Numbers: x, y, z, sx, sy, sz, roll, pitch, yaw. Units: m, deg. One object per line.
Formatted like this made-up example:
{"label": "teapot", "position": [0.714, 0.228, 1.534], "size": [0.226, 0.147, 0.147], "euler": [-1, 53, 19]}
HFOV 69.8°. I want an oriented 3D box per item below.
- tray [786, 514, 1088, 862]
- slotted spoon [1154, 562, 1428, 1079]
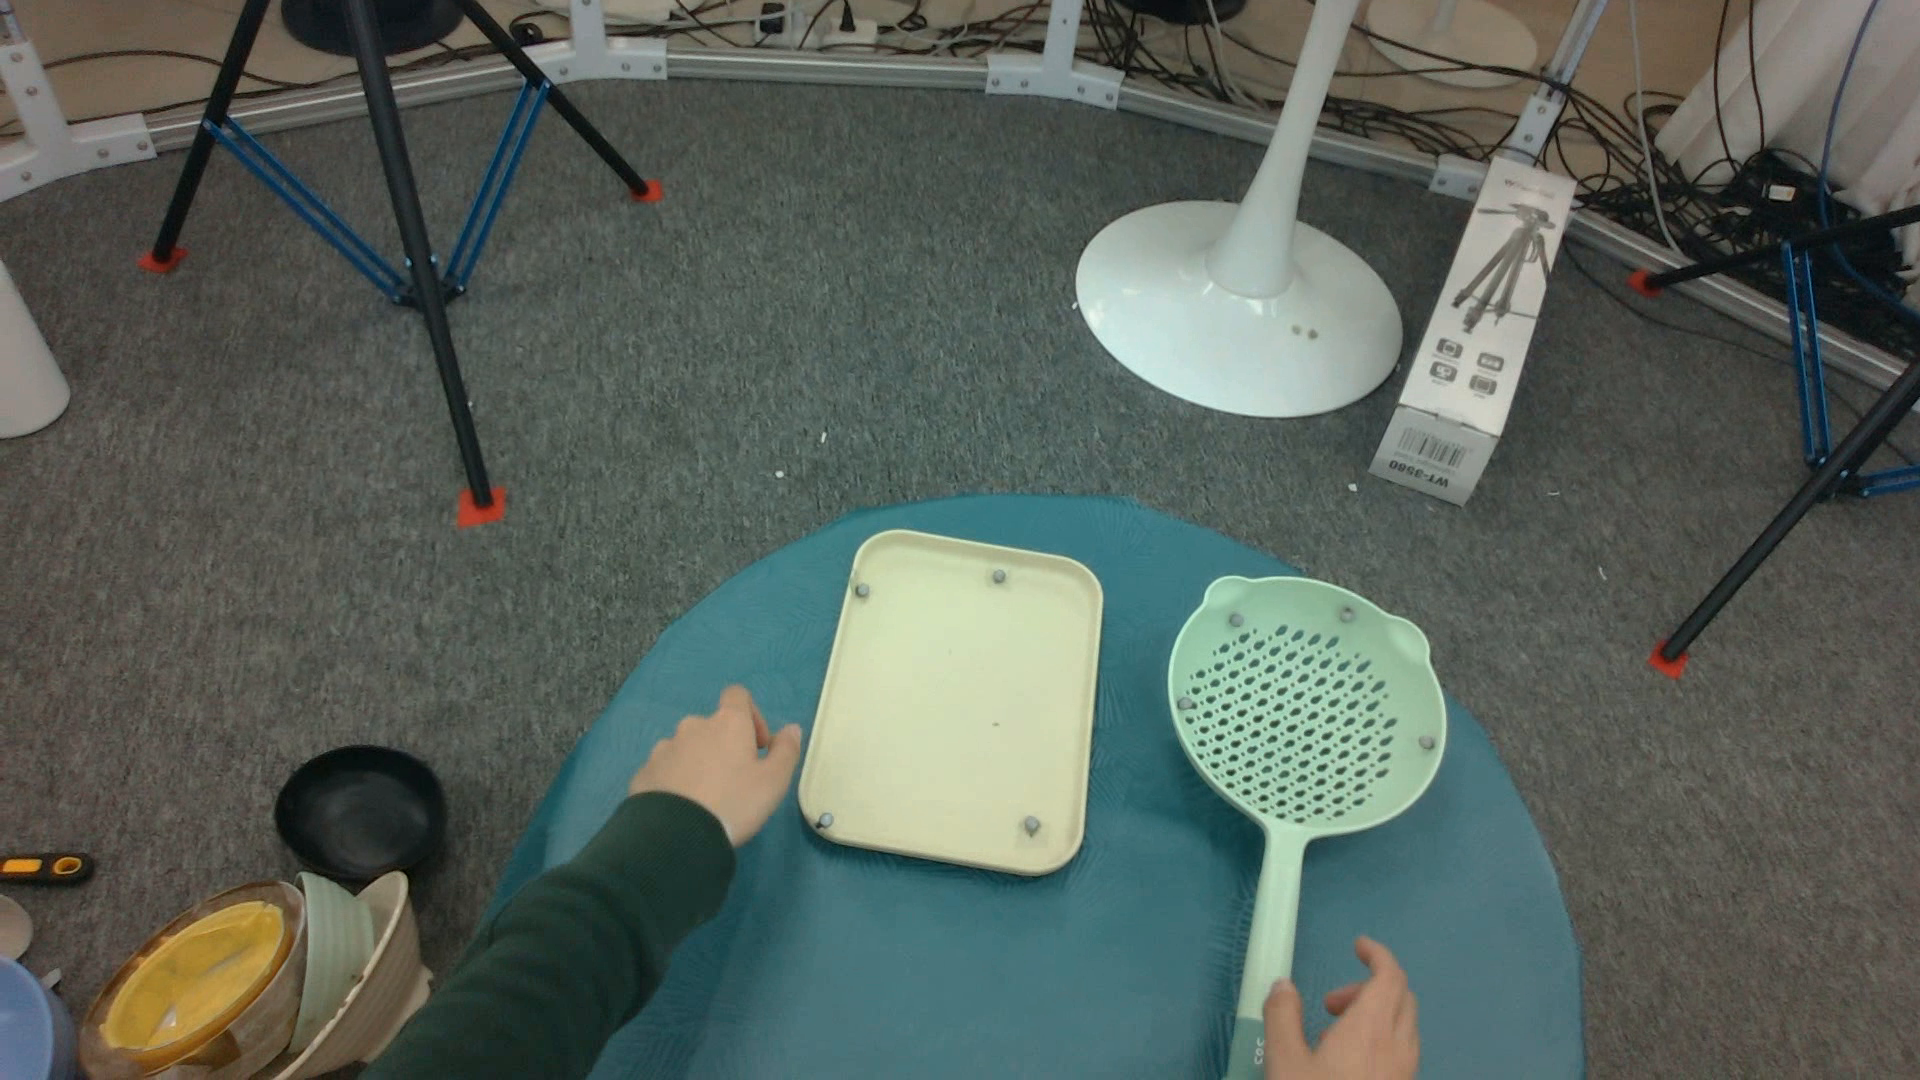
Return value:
{"label": "tray", "position": [-0.009, 0.087, 0.867], "size": [0.171, 0.017, 0.241], "euler": [9, 50, -1]}
{"label": "slotted spoon", "position": [0.175, 0.173, 0.794], "size": [0.169, 0.075, 0.360], "euler": [14, 50, 5]}
